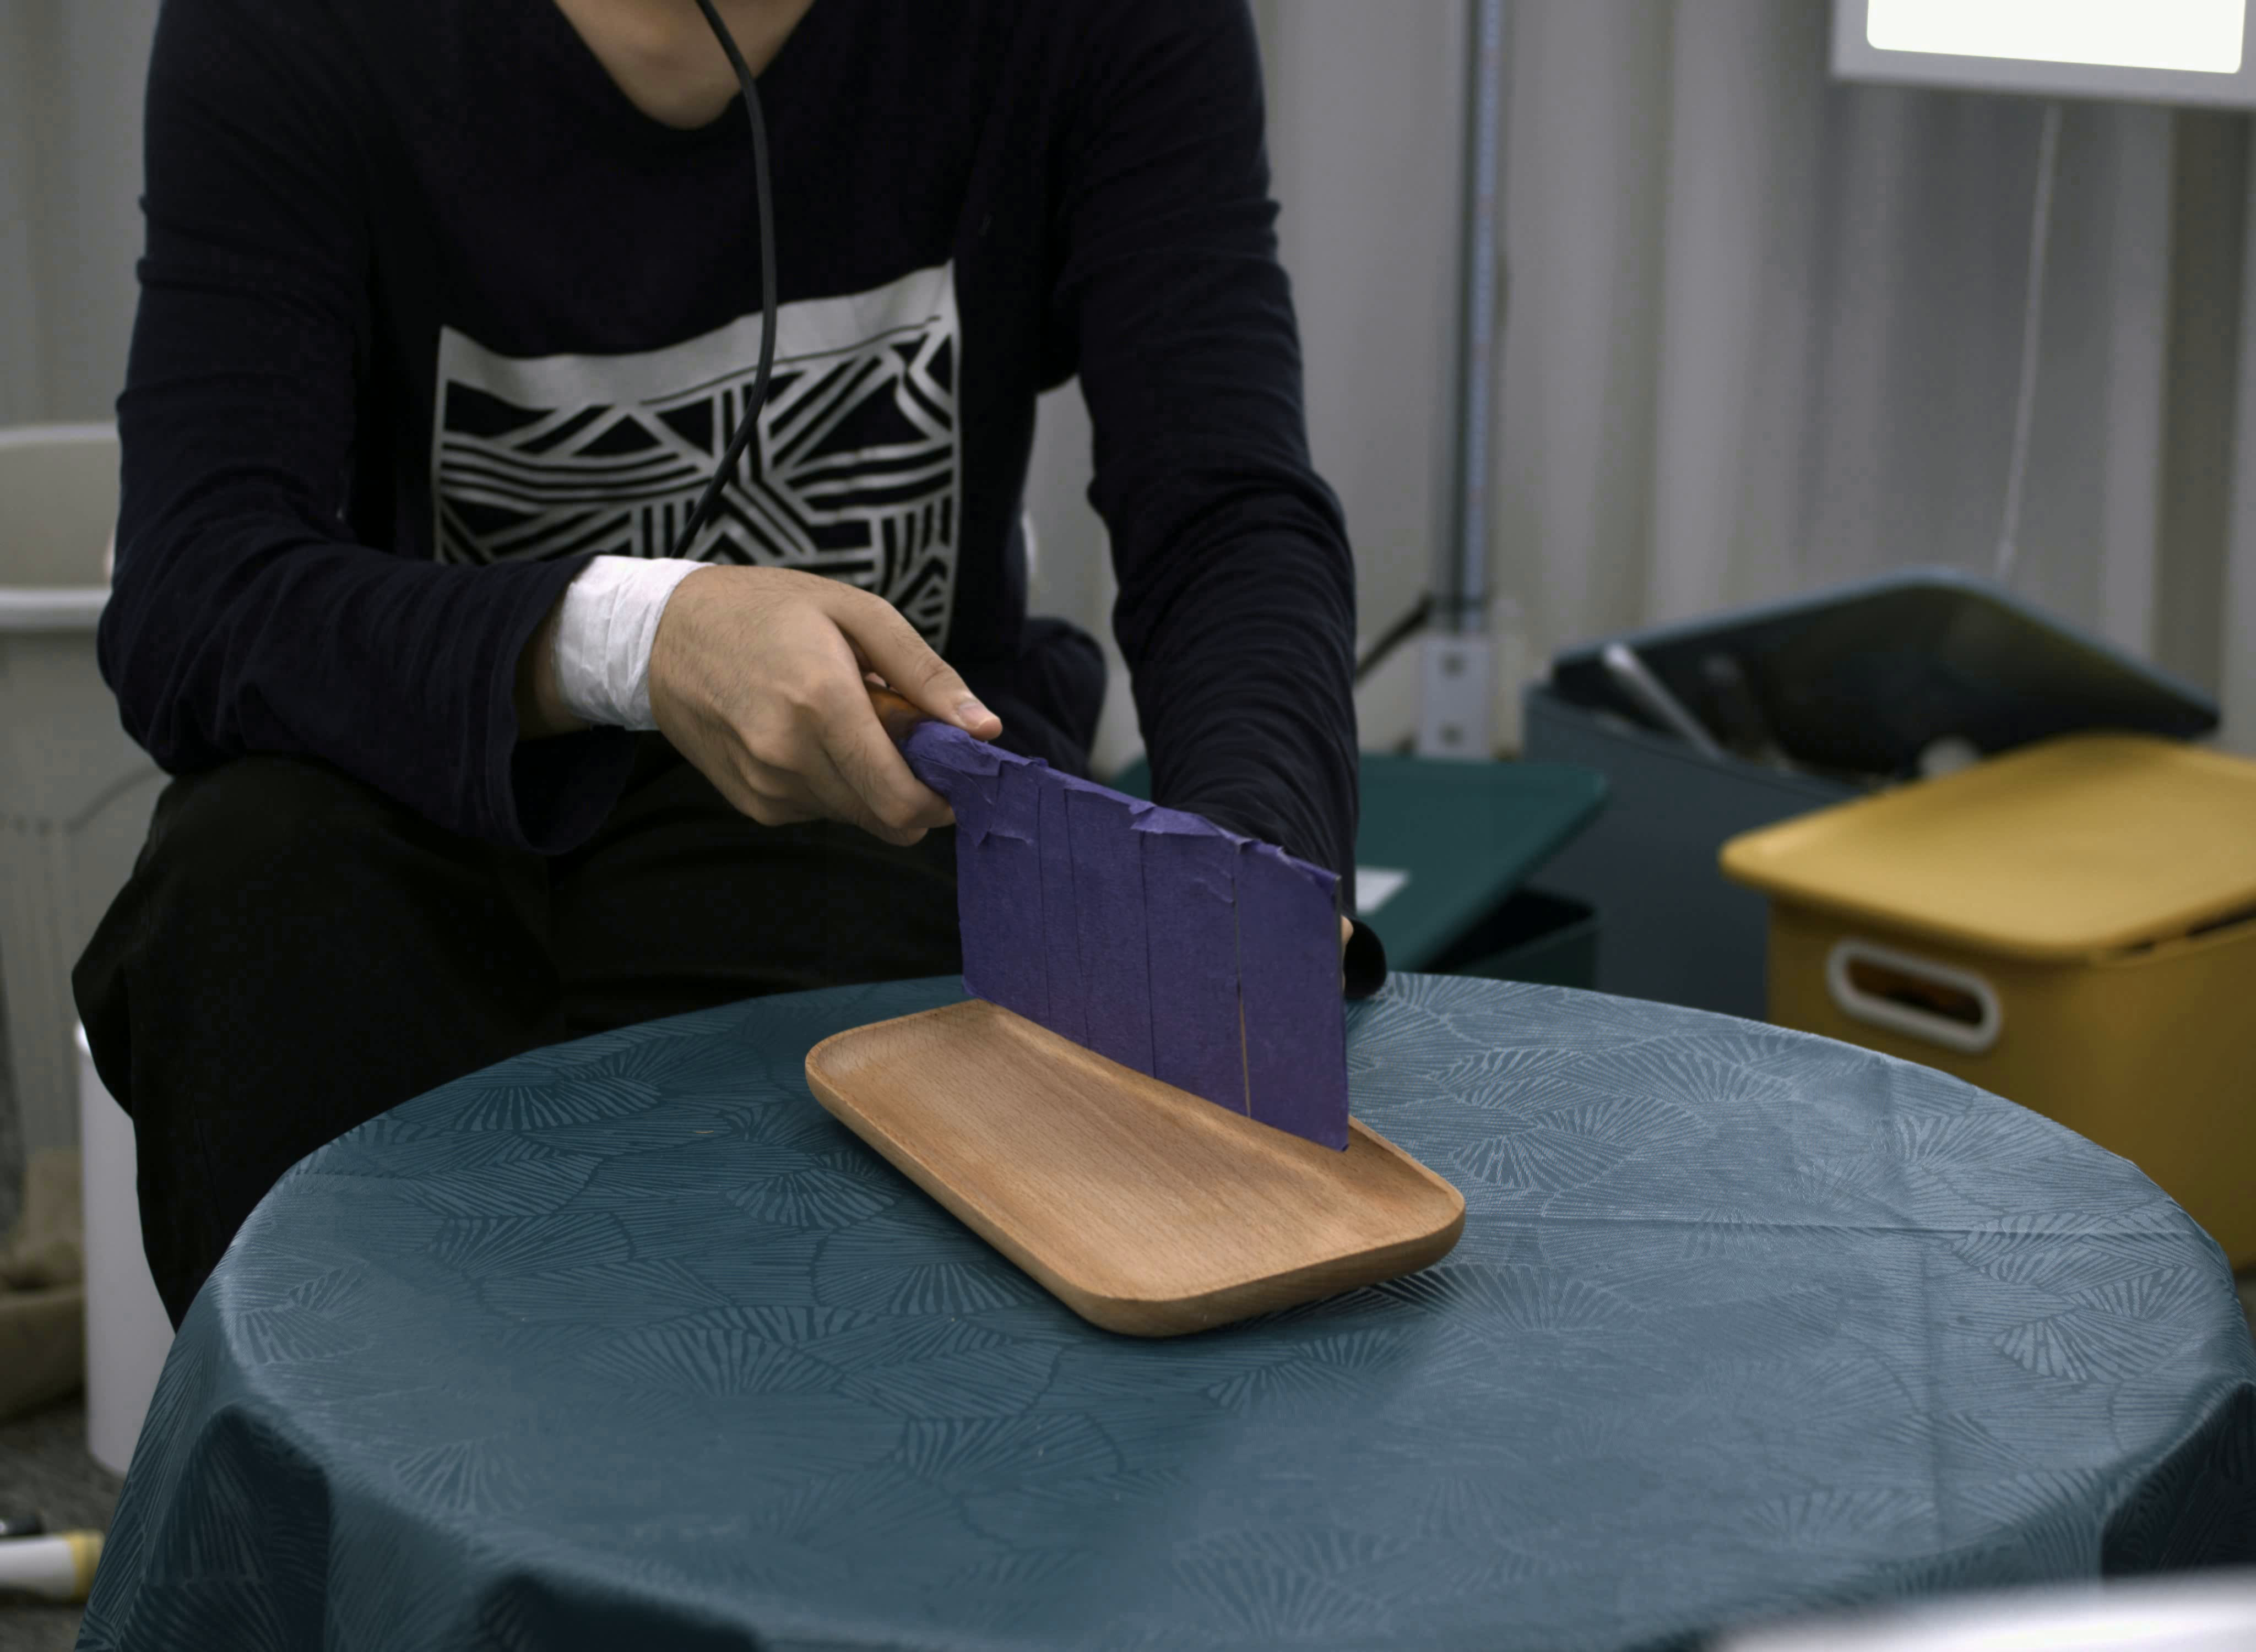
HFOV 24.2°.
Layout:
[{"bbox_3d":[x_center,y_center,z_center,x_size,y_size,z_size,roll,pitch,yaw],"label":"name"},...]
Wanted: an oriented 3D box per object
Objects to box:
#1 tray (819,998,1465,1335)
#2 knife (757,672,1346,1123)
[{"bbox_3d":[0.000,0.098,1.616,0.131,0.023,0.248,-9,19,-22],"label":"tray"},{"bbox_3d":[-0.029,0.022,1.674,0.032,0.105,0.311,-12,19,-31],"label":"knife"}]
